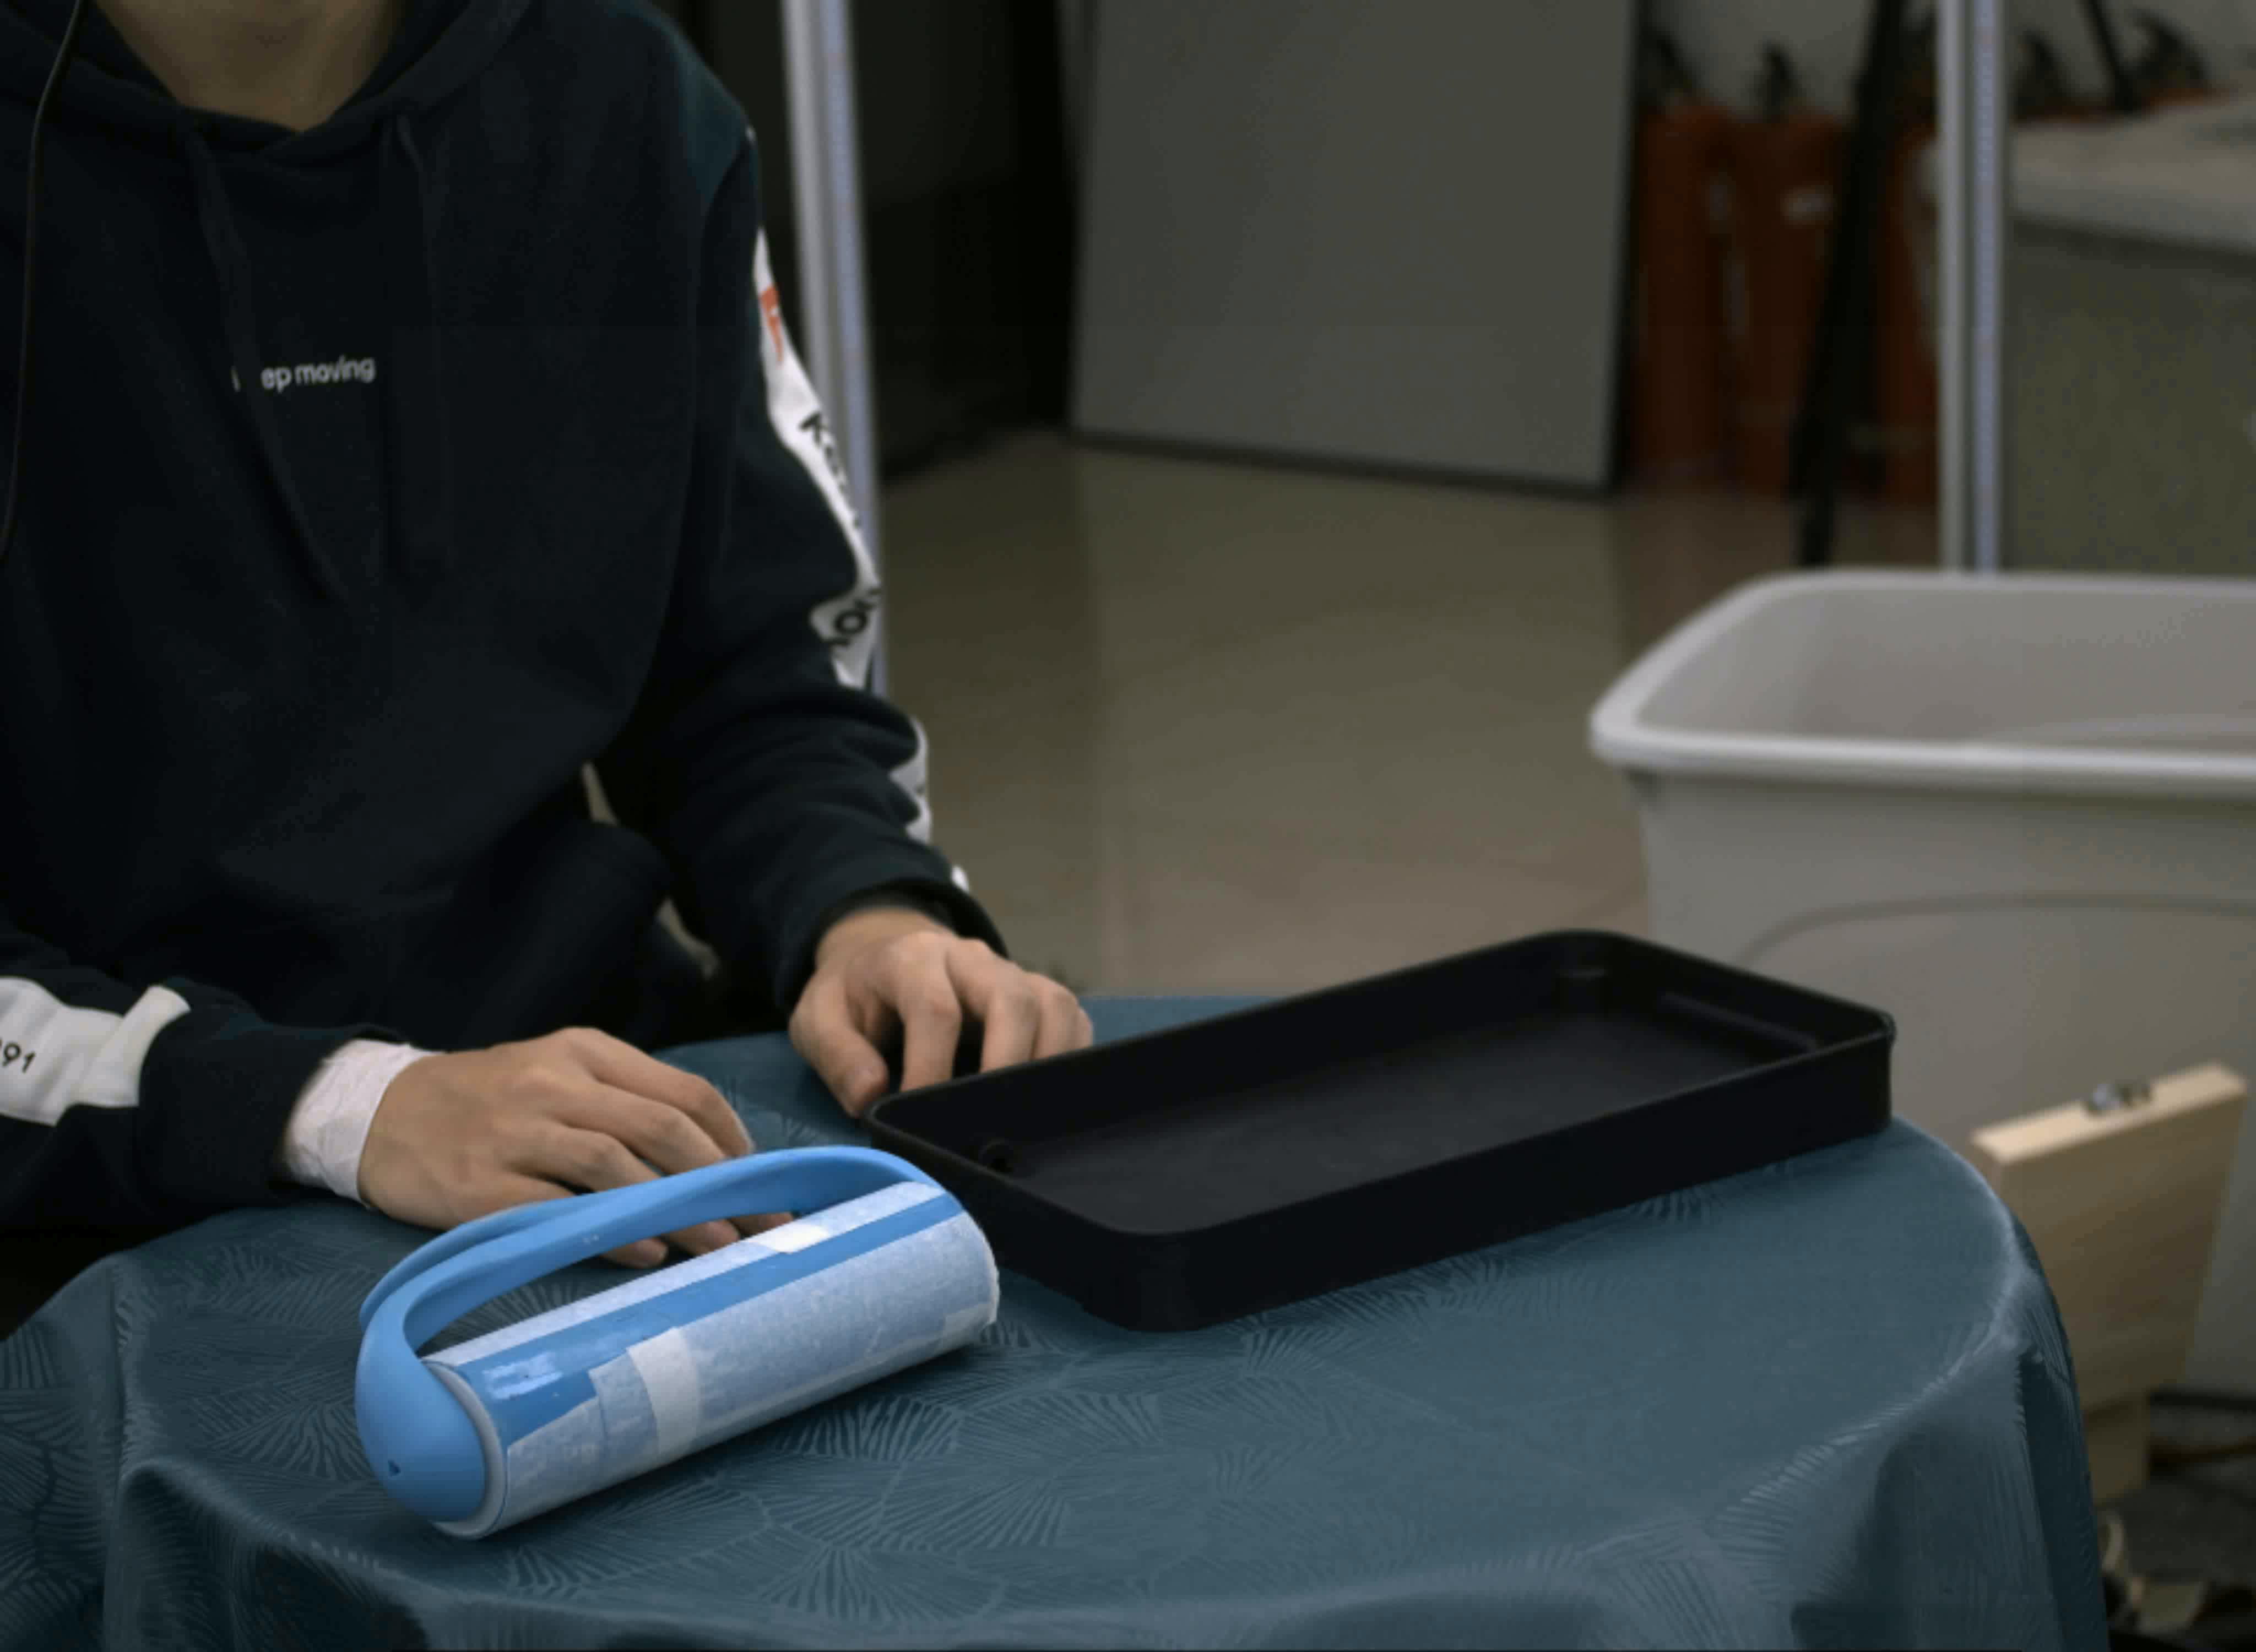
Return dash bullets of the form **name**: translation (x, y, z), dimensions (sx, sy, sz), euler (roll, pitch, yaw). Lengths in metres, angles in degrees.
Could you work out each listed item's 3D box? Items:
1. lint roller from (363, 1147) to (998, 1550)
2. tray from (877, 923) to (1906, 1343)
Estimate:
- **lint roller**: translation (-0.167, 0.144, 1.606), dimensions (0.182, 0.068, 0.224), euler (10, 22, 41)
- **tray**: translation (0.090, 0.096, 1.777), dimensions (0.311, 0.037, 0.186), euler (-15, 17, -32)
